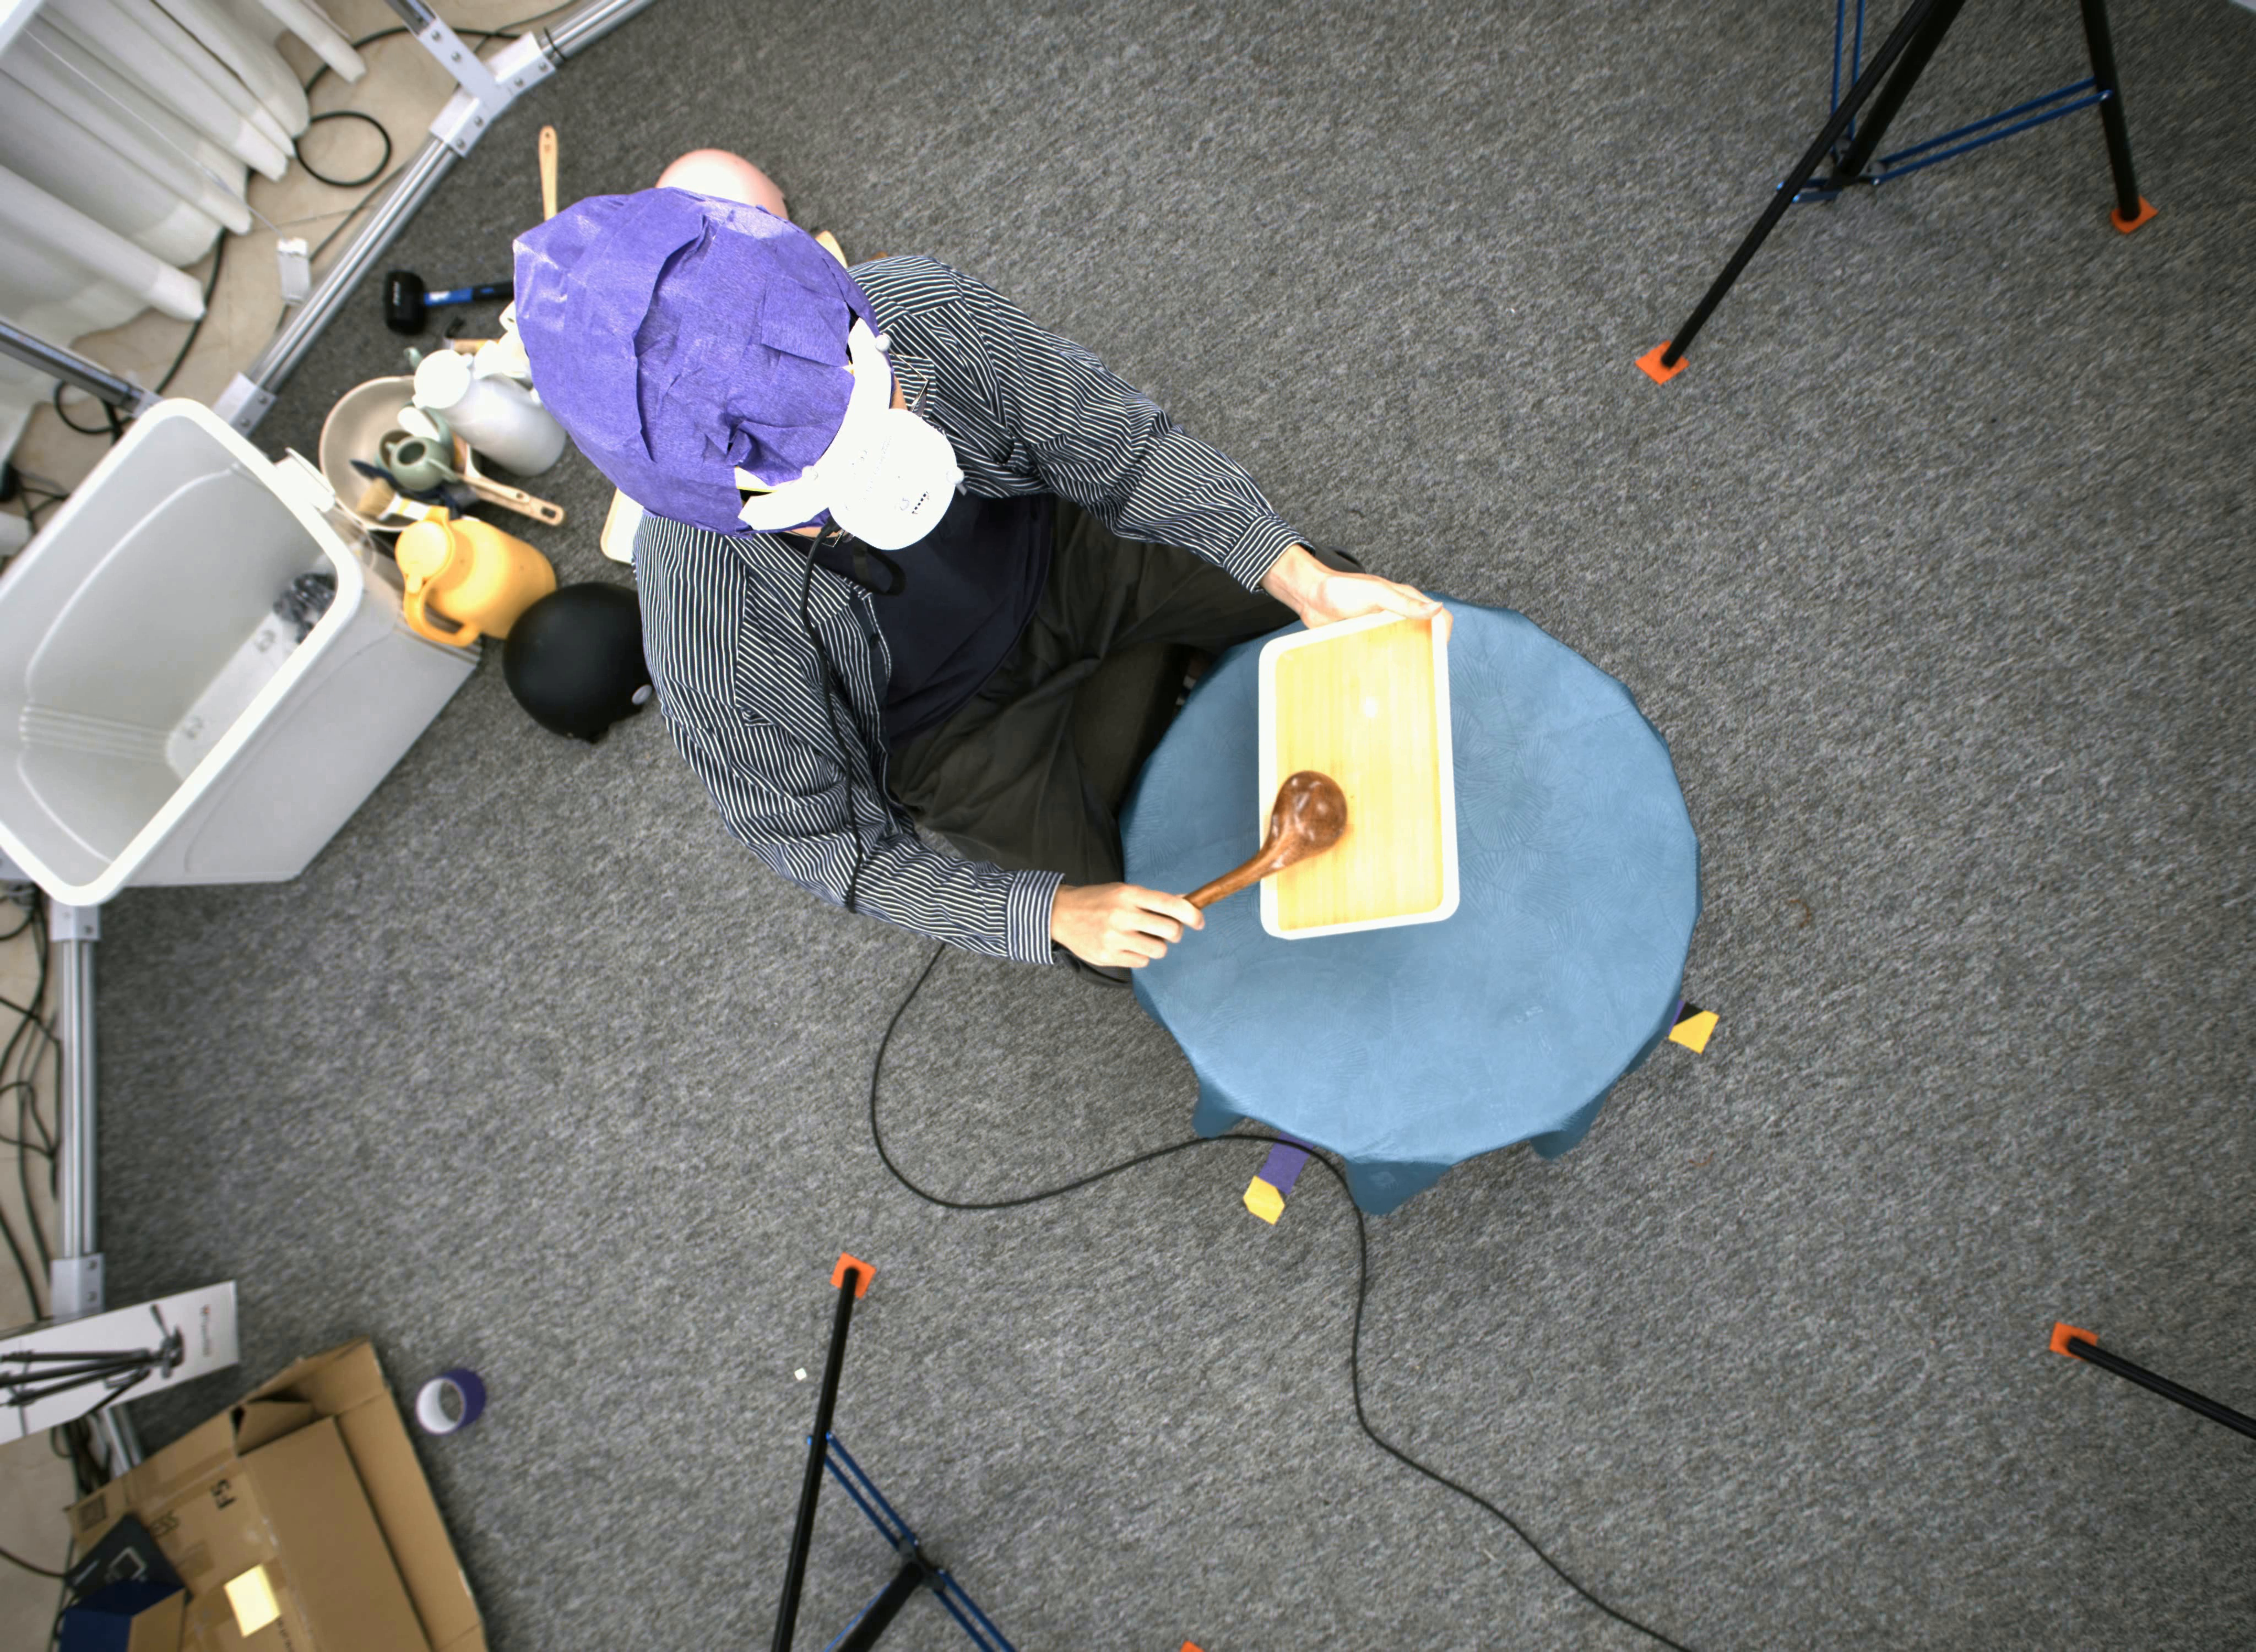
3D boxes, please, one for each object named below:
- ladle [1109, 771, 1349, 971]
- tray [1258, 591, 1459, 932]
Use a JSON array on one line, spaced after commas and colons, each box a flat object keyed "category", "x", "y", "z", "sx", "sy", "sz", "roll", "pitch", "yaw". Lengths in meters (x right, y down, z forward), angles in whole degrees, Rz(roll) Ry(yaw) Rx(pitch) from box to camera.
[{"category": "ladle", "x": 0.087, "y": 0.043, "z": 1.297, "sx": 0.279, "sy": 0.074, "sz": 0.082, "roll": -34, "pitch": 118, "yaw": 30}, {"category": "tray", "x": 0.208, "y": -0.058, "z": 1.270, "sx": 0.194, "sy": 0.027, "sz": 0.296, "roll": -9, "pitch": 74, "yaw": 37}]
